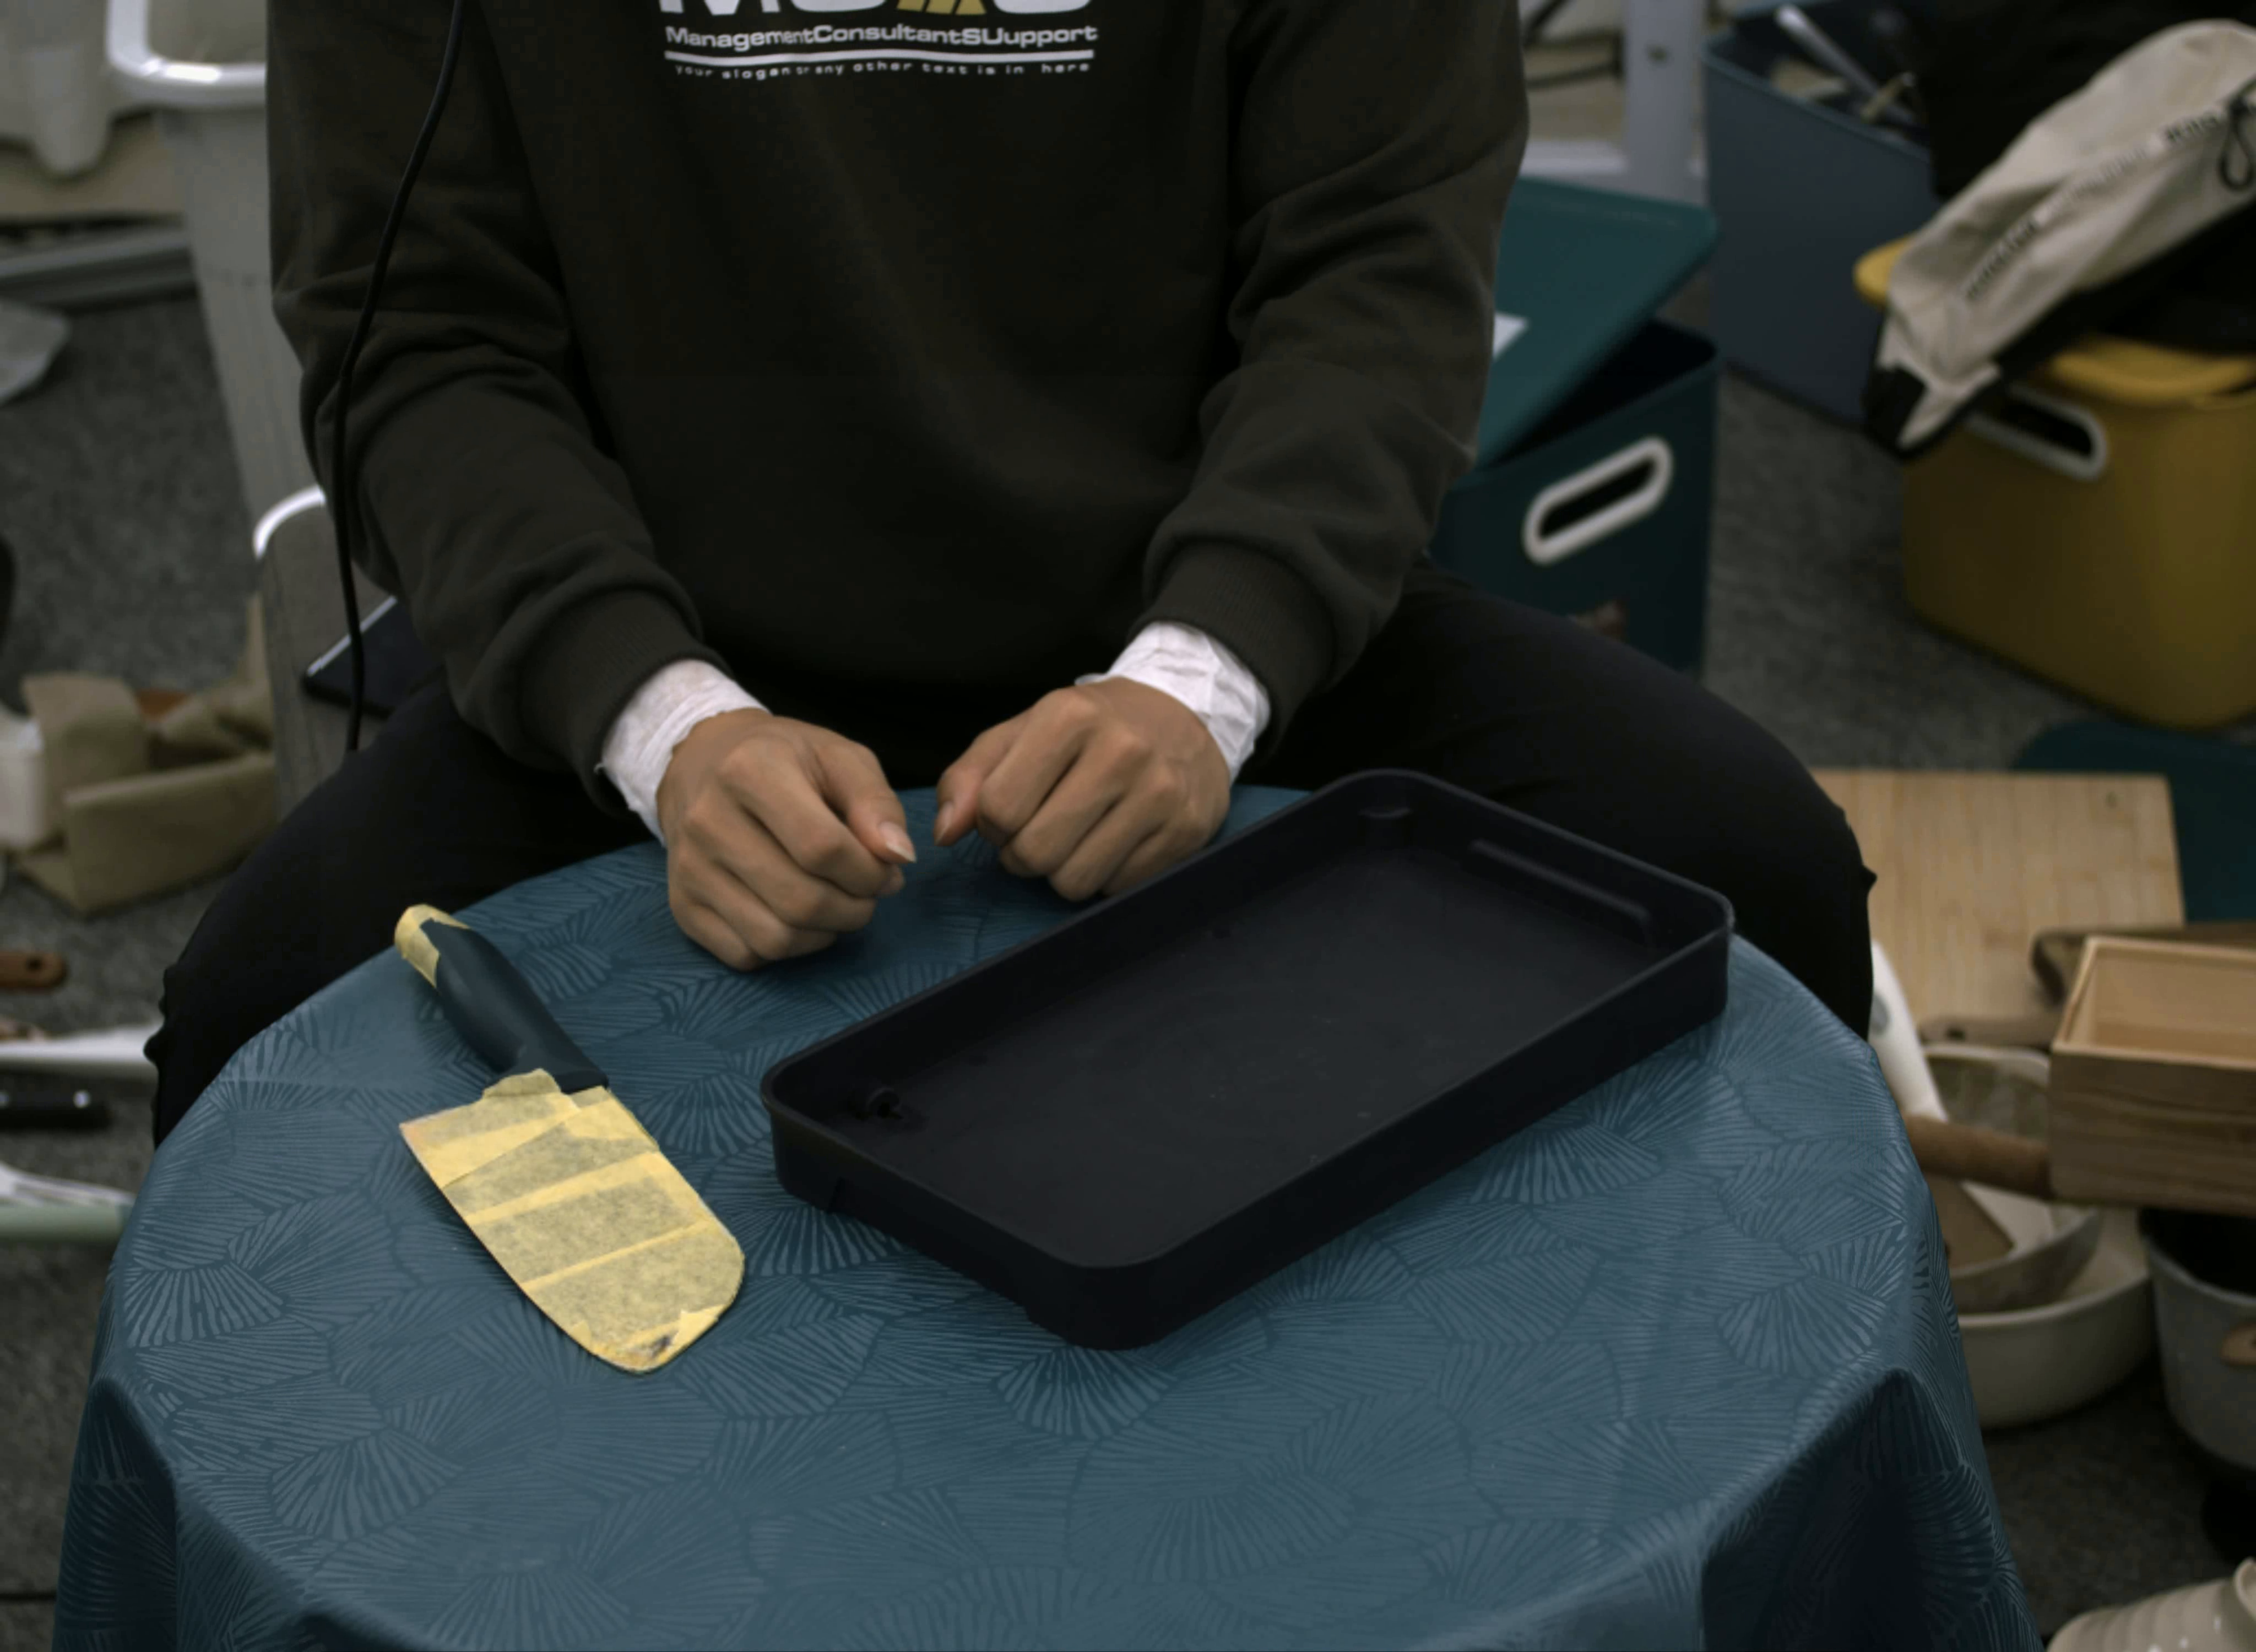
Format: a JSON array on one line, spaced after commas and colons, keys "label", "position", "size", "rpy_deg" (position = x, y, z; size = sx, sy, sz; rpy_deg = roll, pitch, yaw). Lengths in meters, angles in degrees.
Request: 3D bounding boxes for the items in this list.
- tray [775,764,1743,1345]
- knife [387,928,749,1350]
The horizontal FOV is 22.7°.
[{"label": "tray", "position": [0.048, 0.071, 1.917], "size": [0.184, 0.036, 0.322], "rpy_deg": [21, 36, 39]}, {"label": "knife", "position": [-0.203, 0.106, 1.896], "size": [0.081, 0.027, 0.291], "rpy_deg": [-13, 30, -22]}]
